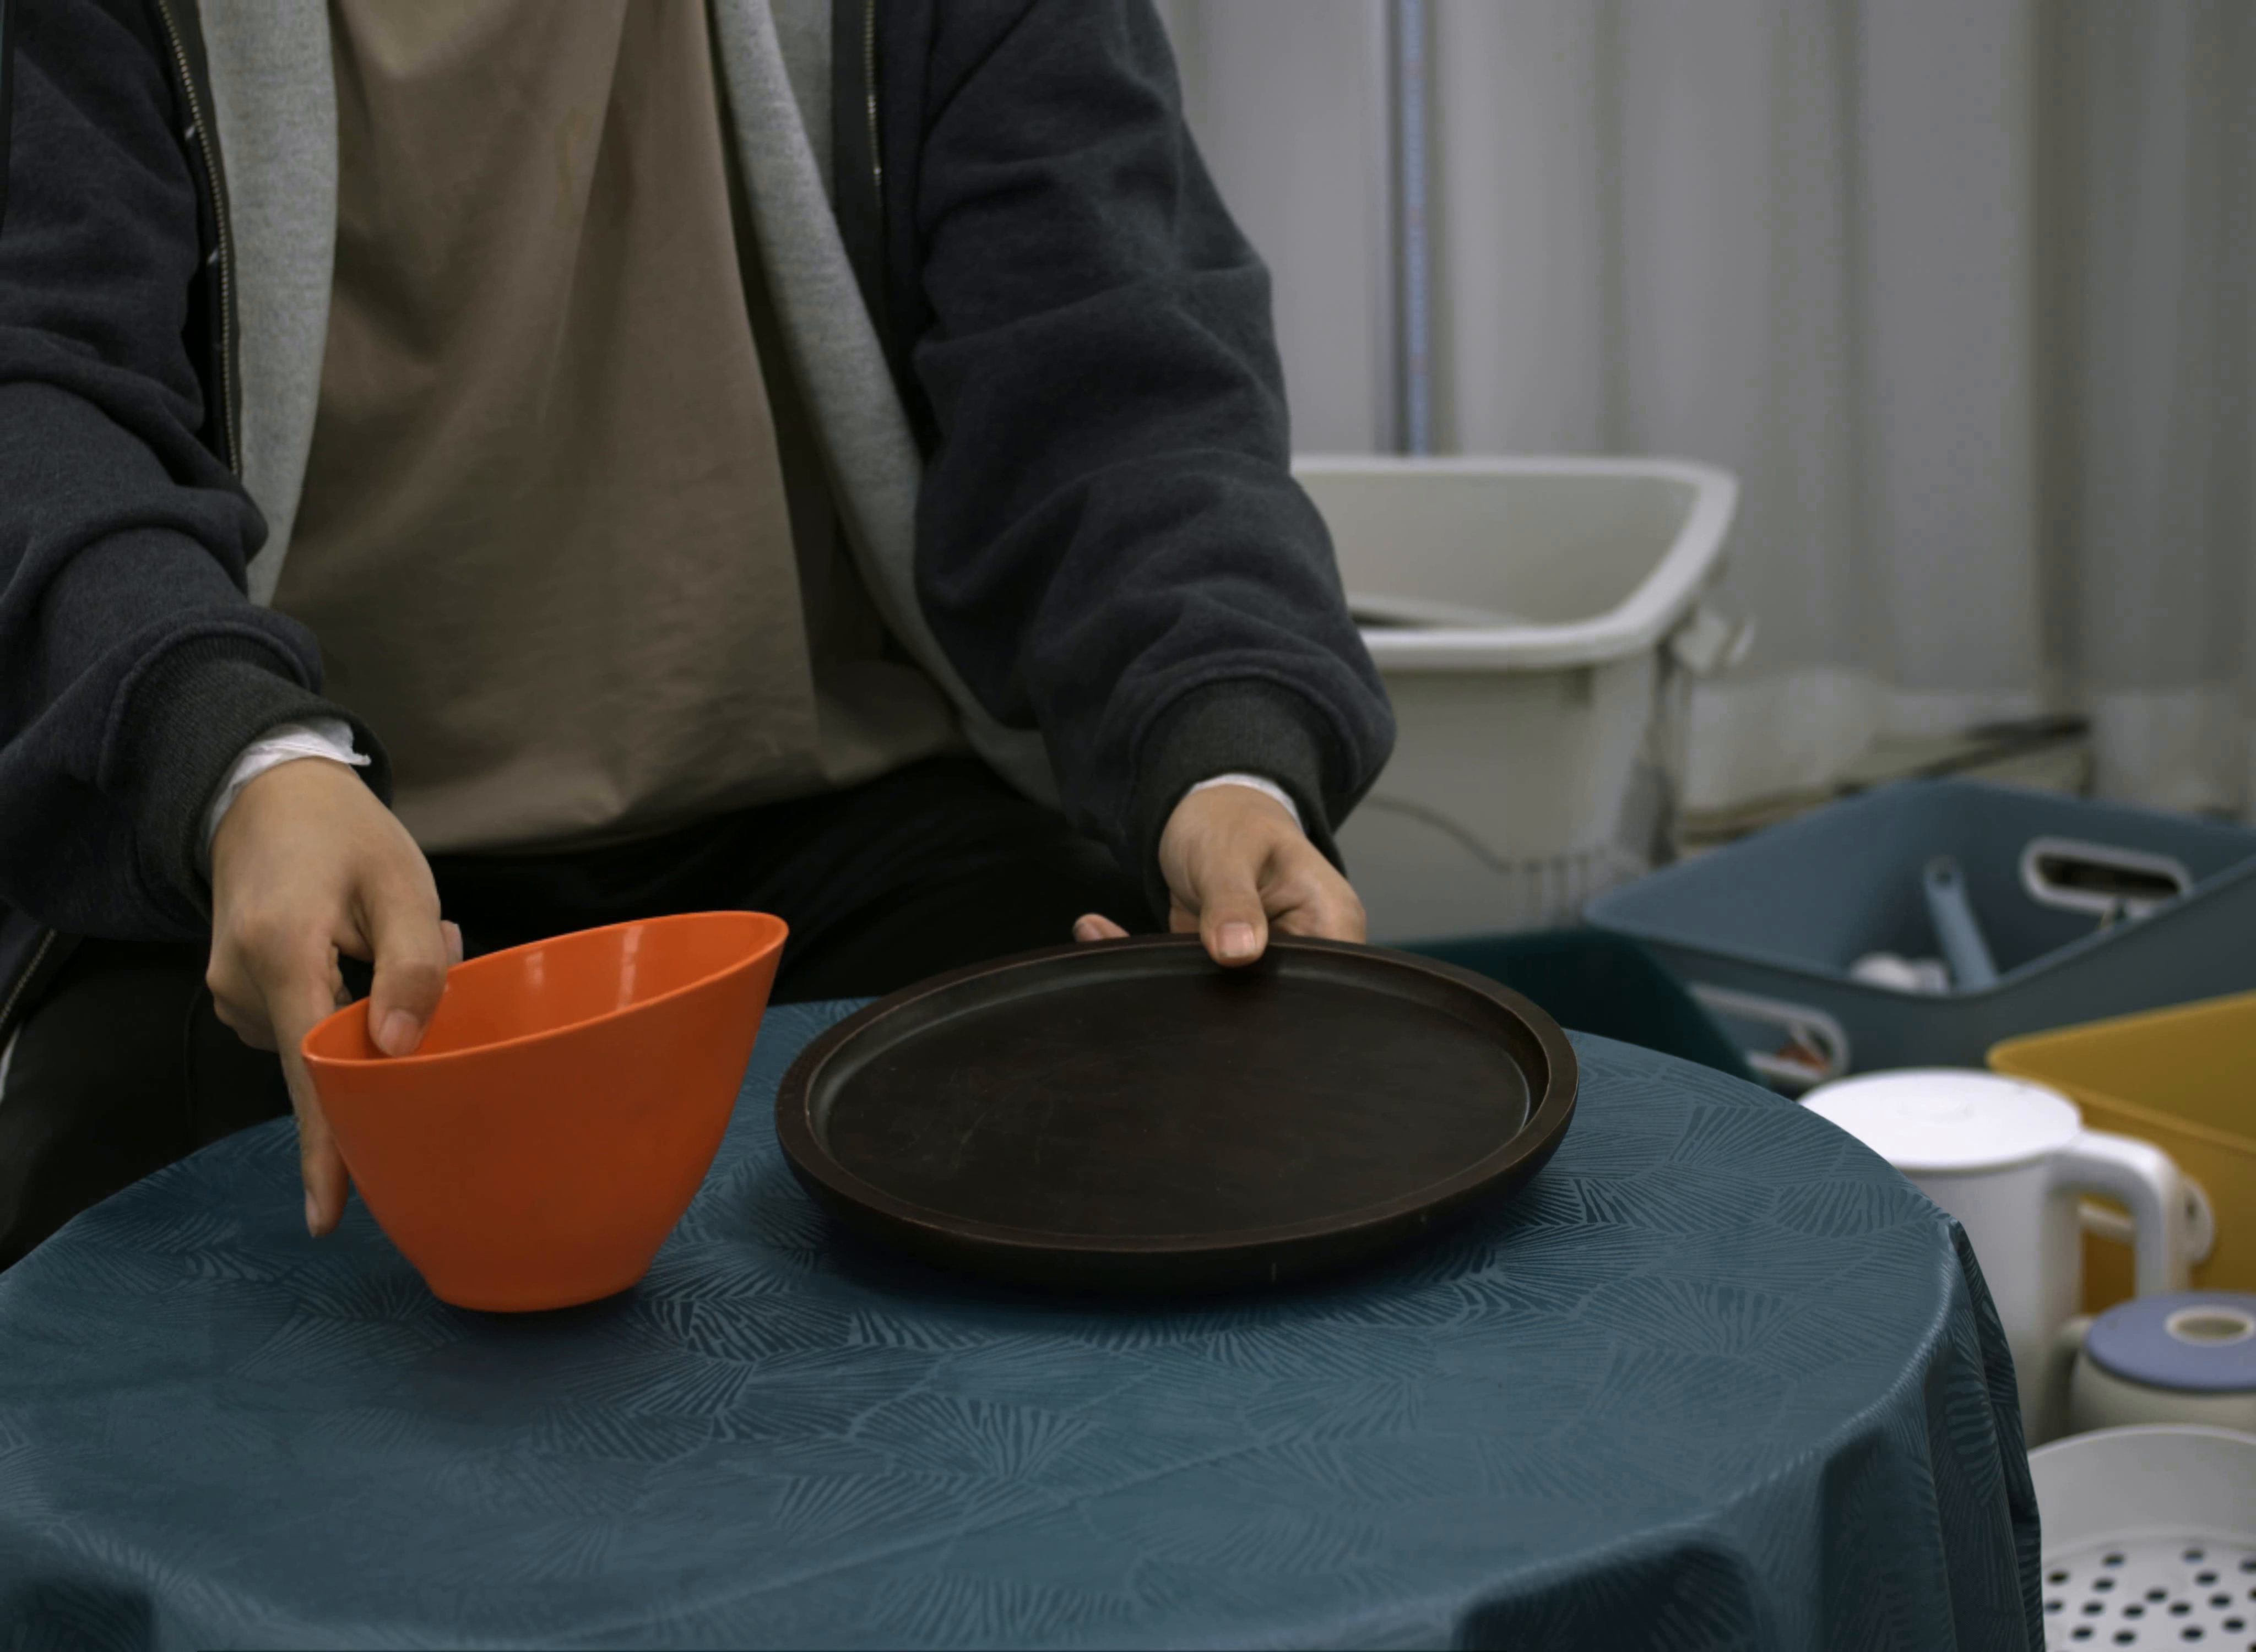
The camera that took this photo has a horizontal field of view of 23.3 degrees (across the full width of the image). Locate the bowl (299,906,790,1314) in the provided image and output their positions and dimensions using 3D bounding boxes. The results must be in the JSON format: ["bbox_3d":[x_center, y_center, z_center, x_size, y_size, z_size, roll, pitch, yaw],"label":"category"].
[{"bbox_3d":[-0.170,0.086,1.627,0.147,0.104,0.149,-4,16,1],"label":"bowl"}]

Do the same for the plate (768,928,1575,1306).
[{"bbox_3d":[0.014,0.088,1.714,0.254,0.029,0.257,-4,21,1],"label":"plate"}]
